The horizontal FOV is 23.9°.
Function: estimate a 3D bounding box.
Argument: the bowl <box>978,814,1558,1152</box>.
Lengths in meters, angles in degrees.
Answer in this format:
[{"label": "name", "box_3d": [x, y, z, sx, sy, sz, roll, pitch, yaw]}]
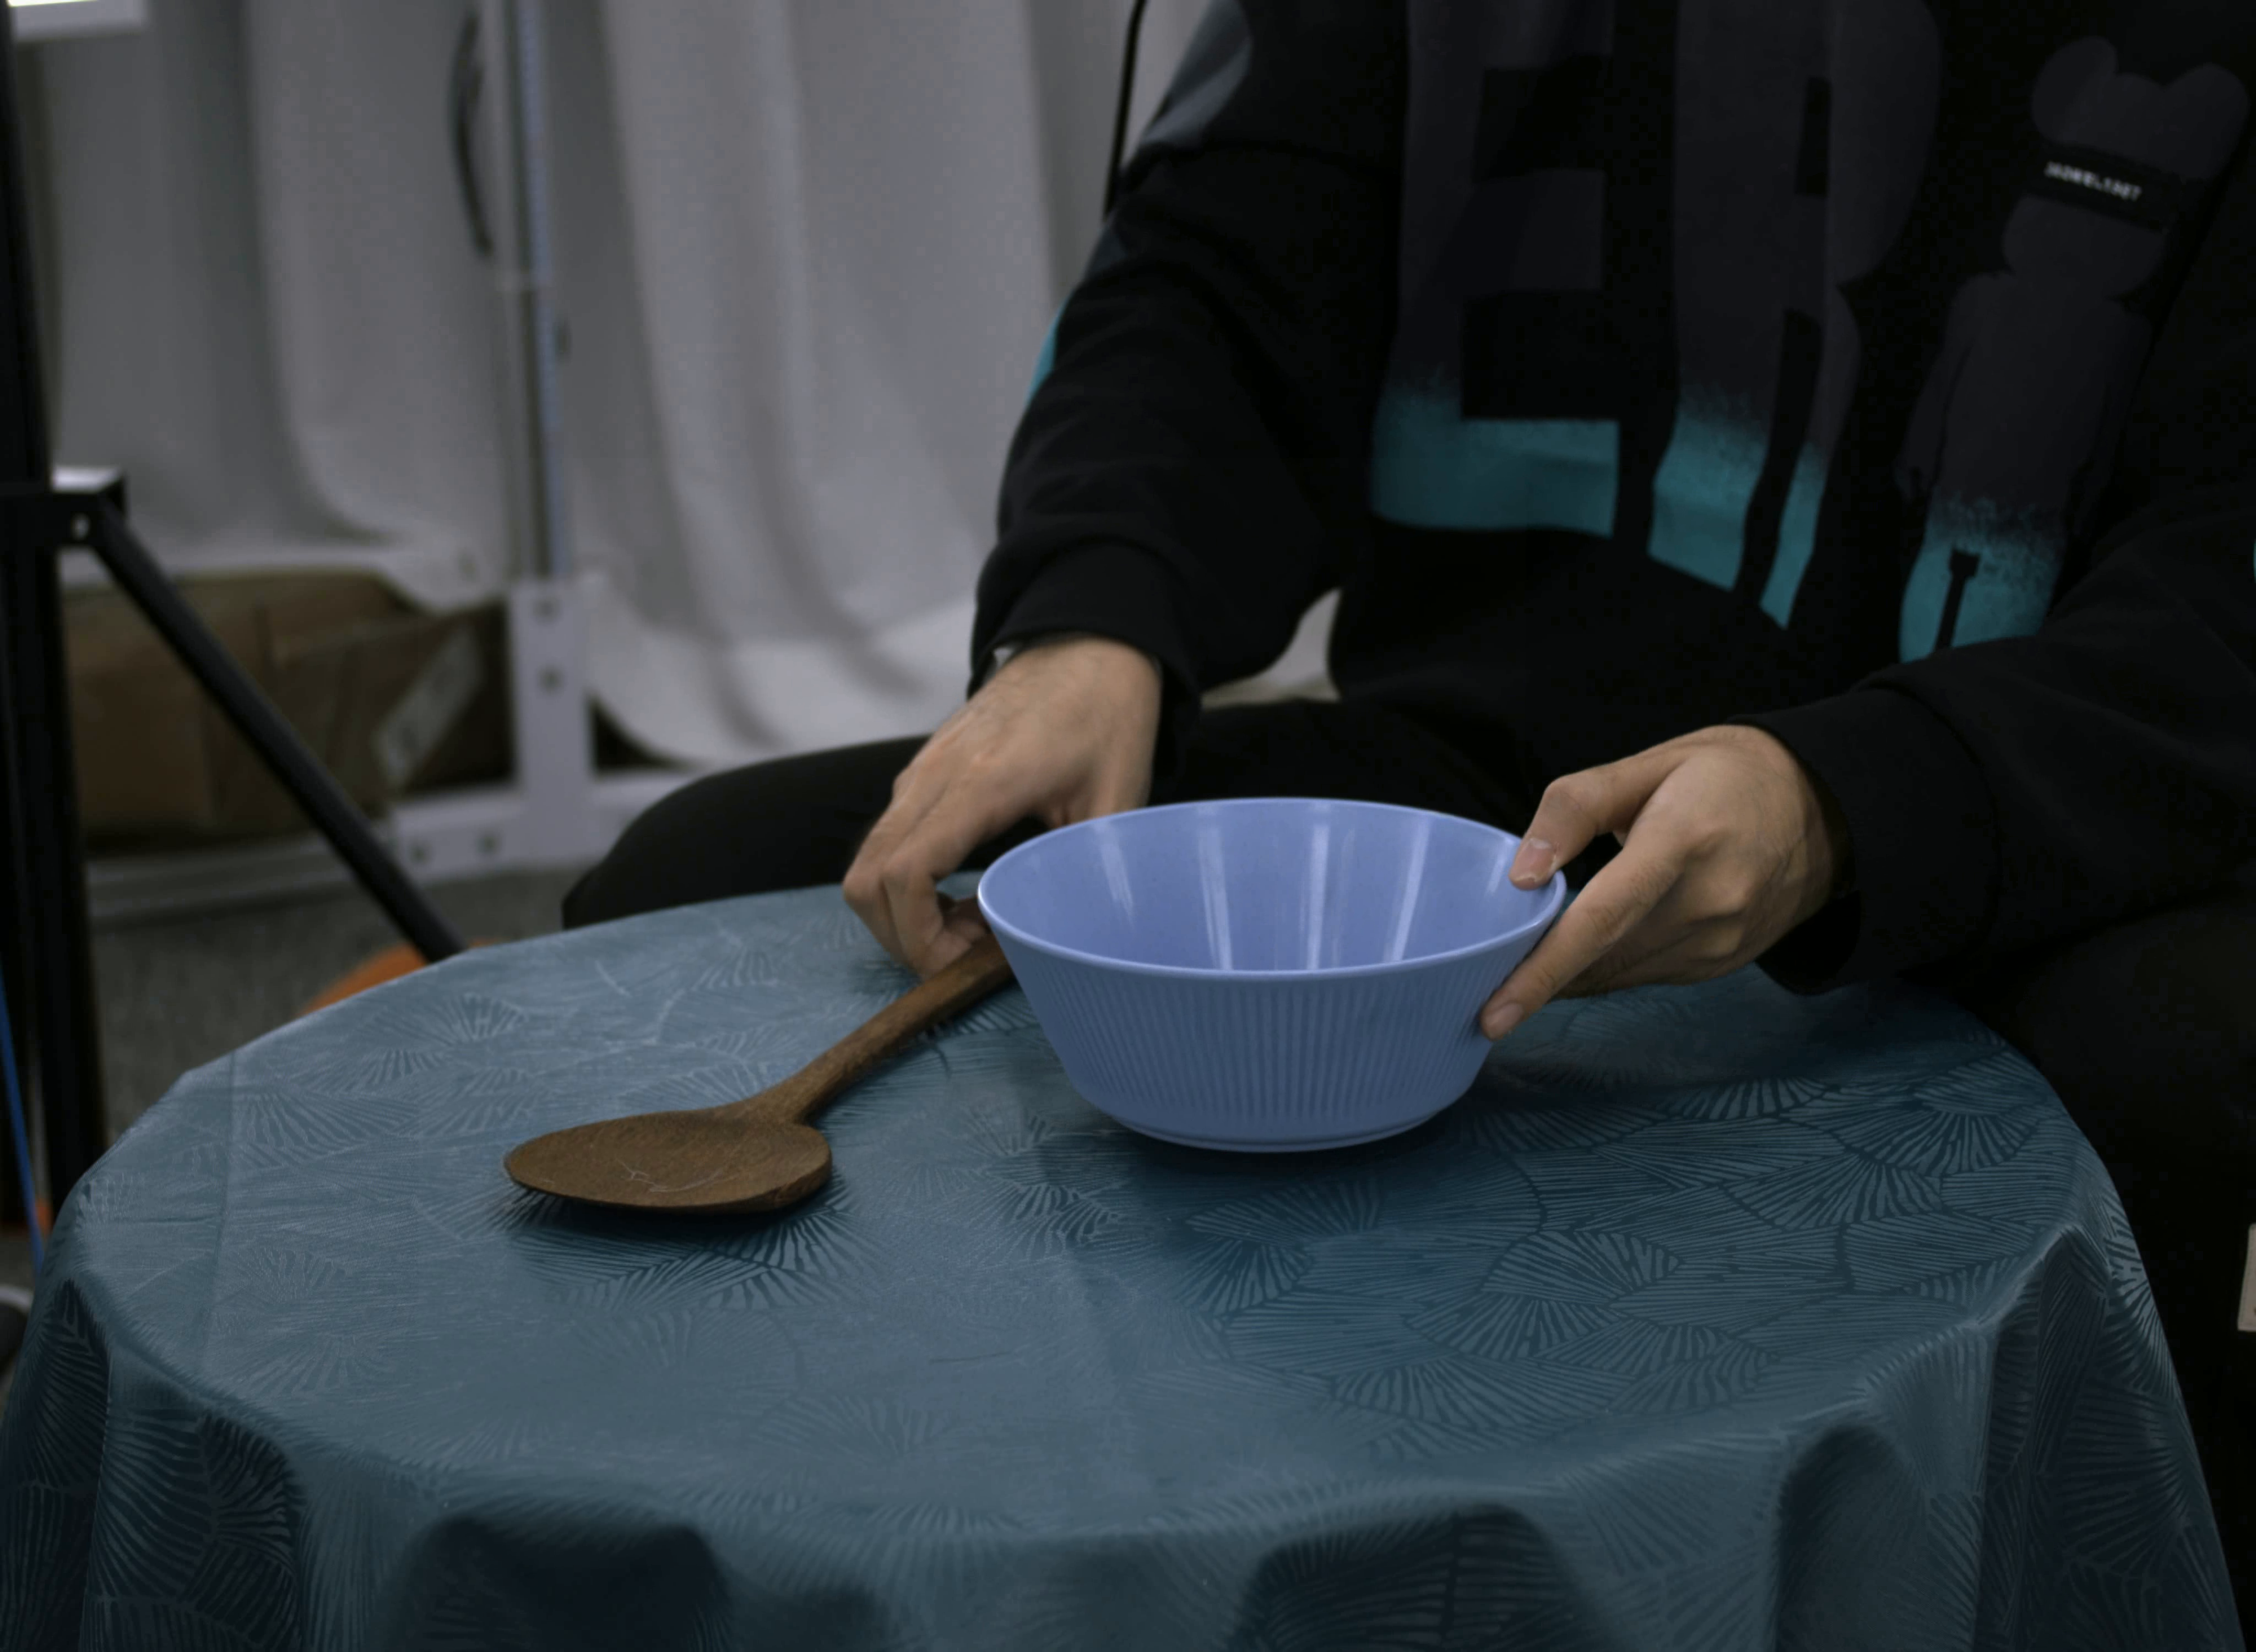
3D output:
[{"label": "bowl", "box_3d": [0.042, 0.050, 1.602, 0.175, 0.070, 0.177, -1, 15, -1]}]

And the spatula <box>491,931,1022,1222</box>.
[{"label": "spatula", "box_3d": [-0.072, 0.063, 1.704, 0.097, 0.016, 0.380, 5, 18, 25]}]
